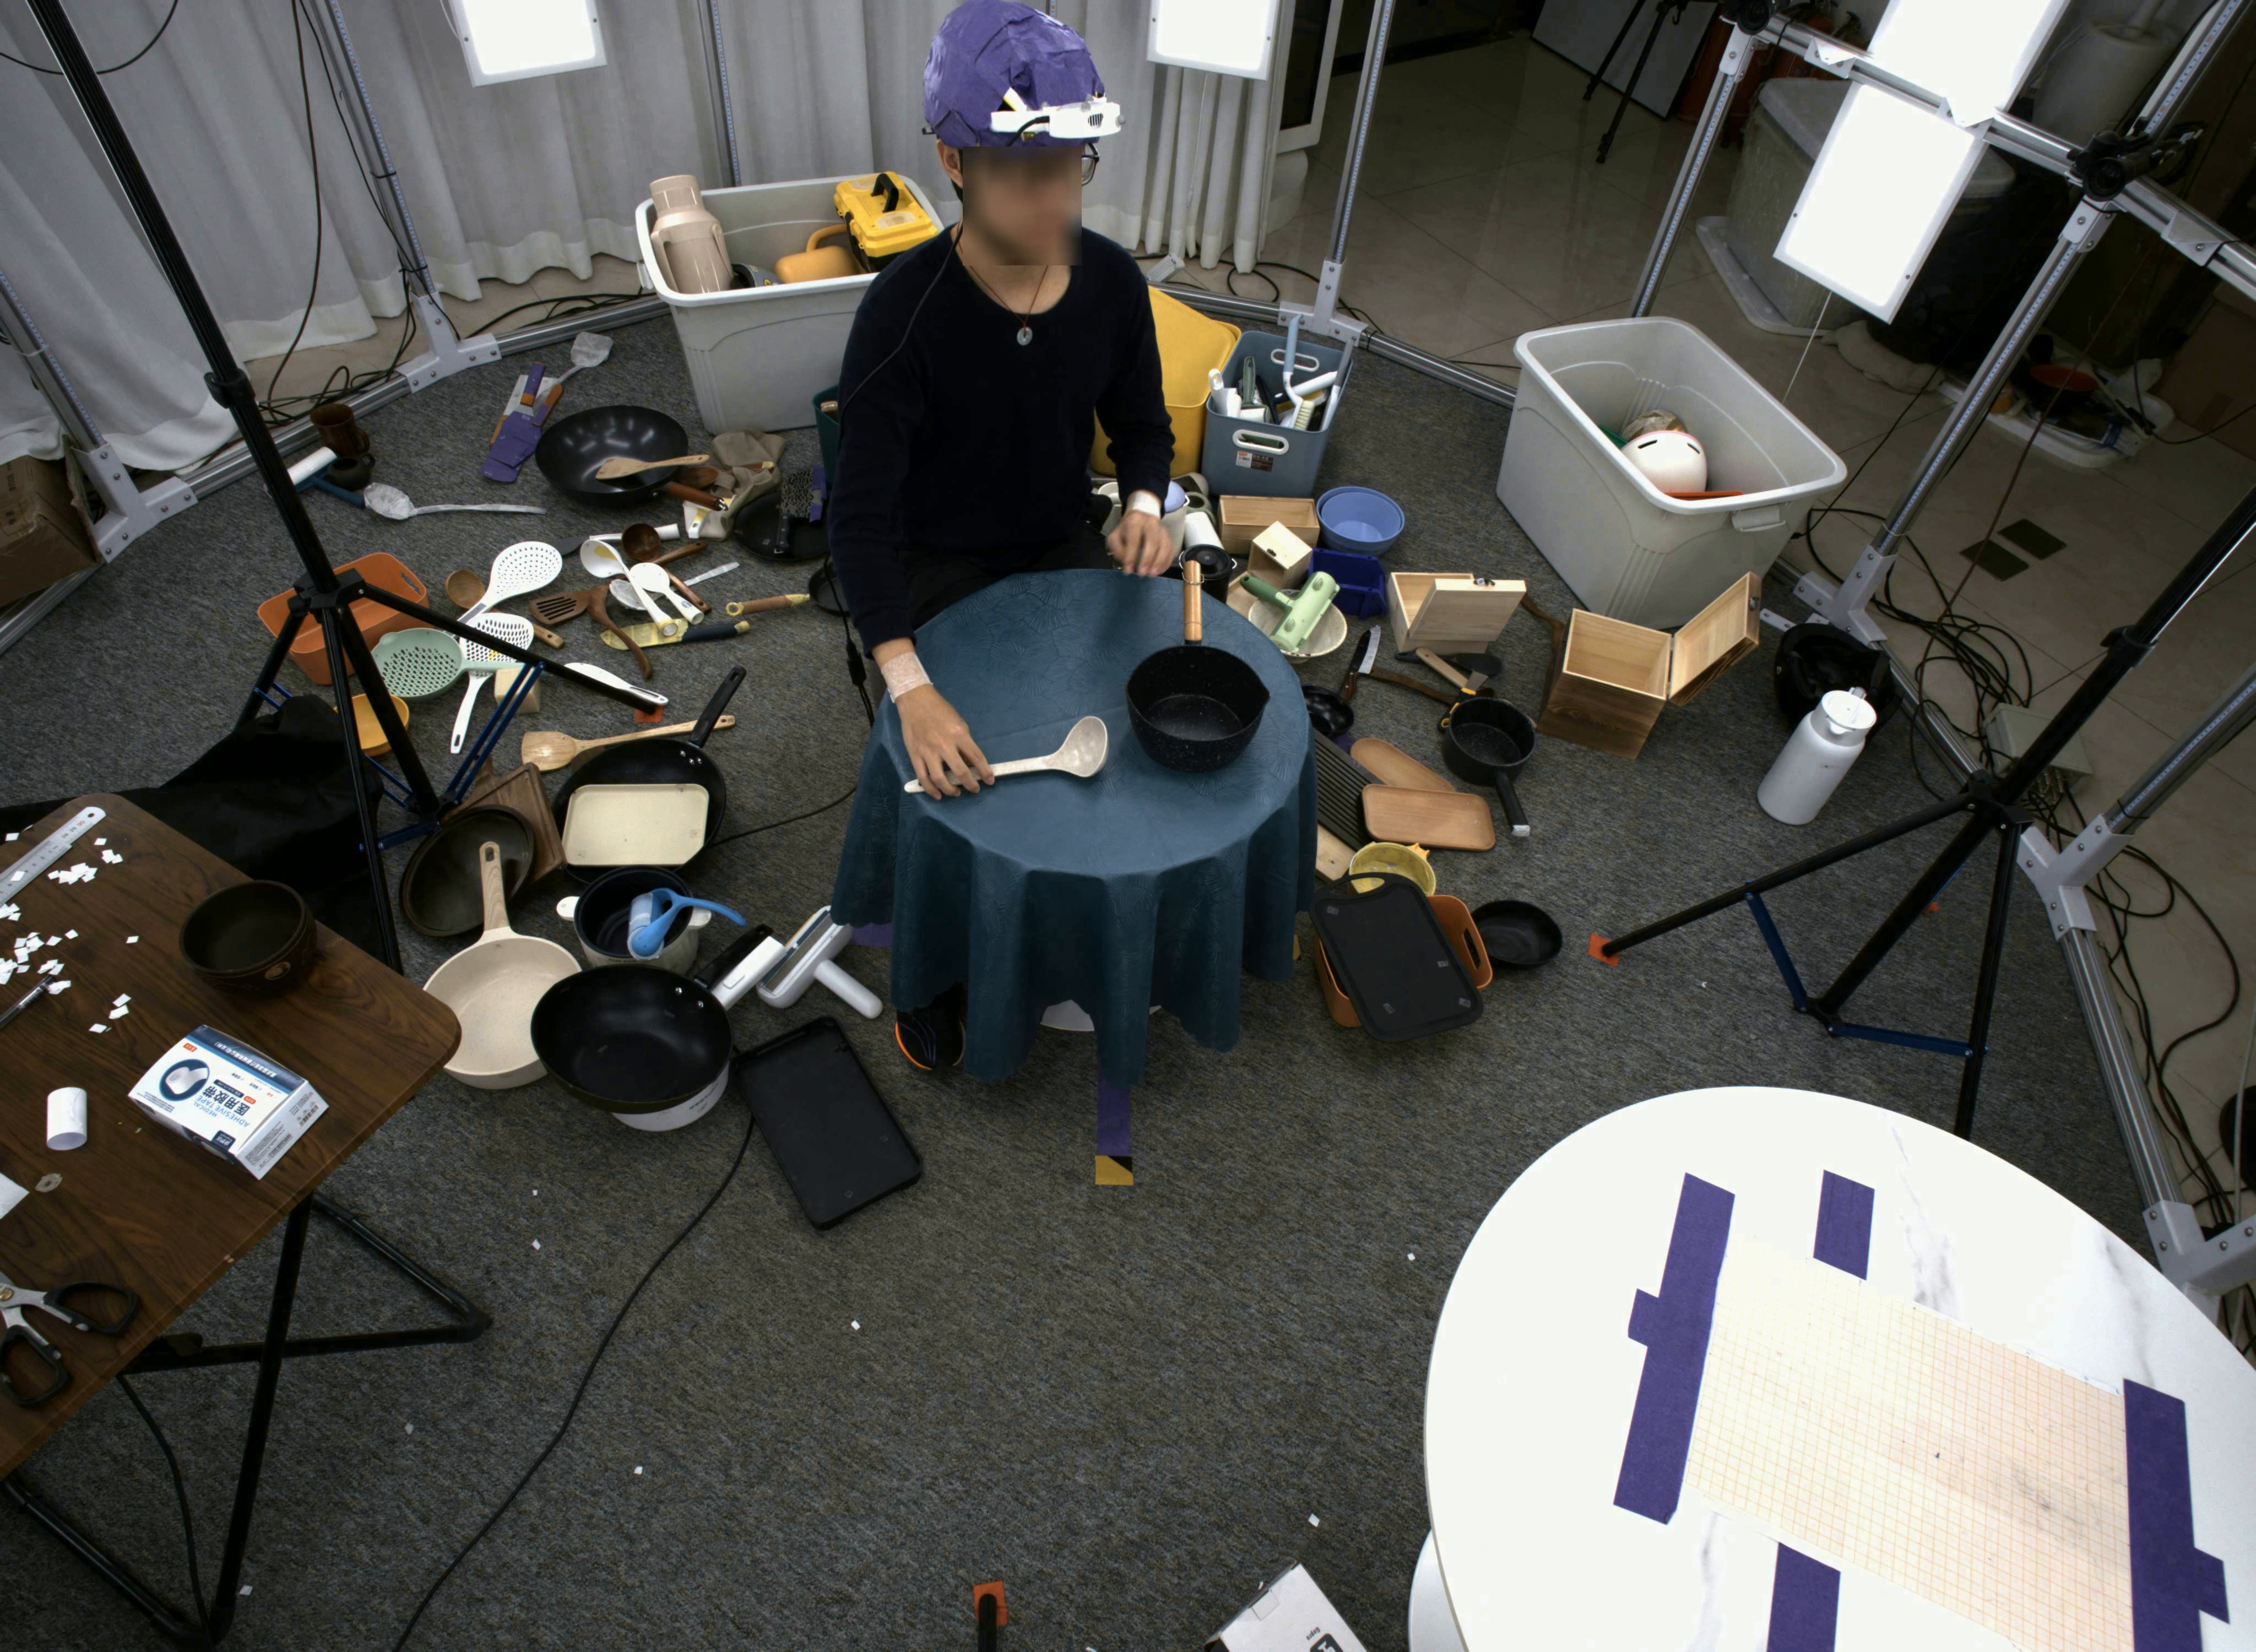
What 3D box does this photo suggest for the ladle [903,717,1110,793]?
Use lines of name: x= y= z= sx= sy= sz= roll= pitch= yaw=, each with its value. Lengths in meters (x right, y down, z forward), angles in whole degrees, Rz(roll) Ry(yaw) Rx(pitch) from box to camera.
ladle: x=-0.160 y=-0.088 z=1.691 sx=0.274 sy=0.068 sz=0.091 roll=-9 pitch=59 yaw=-11

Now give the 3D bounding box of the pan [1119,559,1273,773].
pan: x=0.089 y=-0.224 z=1.800 sx=0.207 sy=0.105 sz=0.351 roll=1 pitch=50 yaw=-2
